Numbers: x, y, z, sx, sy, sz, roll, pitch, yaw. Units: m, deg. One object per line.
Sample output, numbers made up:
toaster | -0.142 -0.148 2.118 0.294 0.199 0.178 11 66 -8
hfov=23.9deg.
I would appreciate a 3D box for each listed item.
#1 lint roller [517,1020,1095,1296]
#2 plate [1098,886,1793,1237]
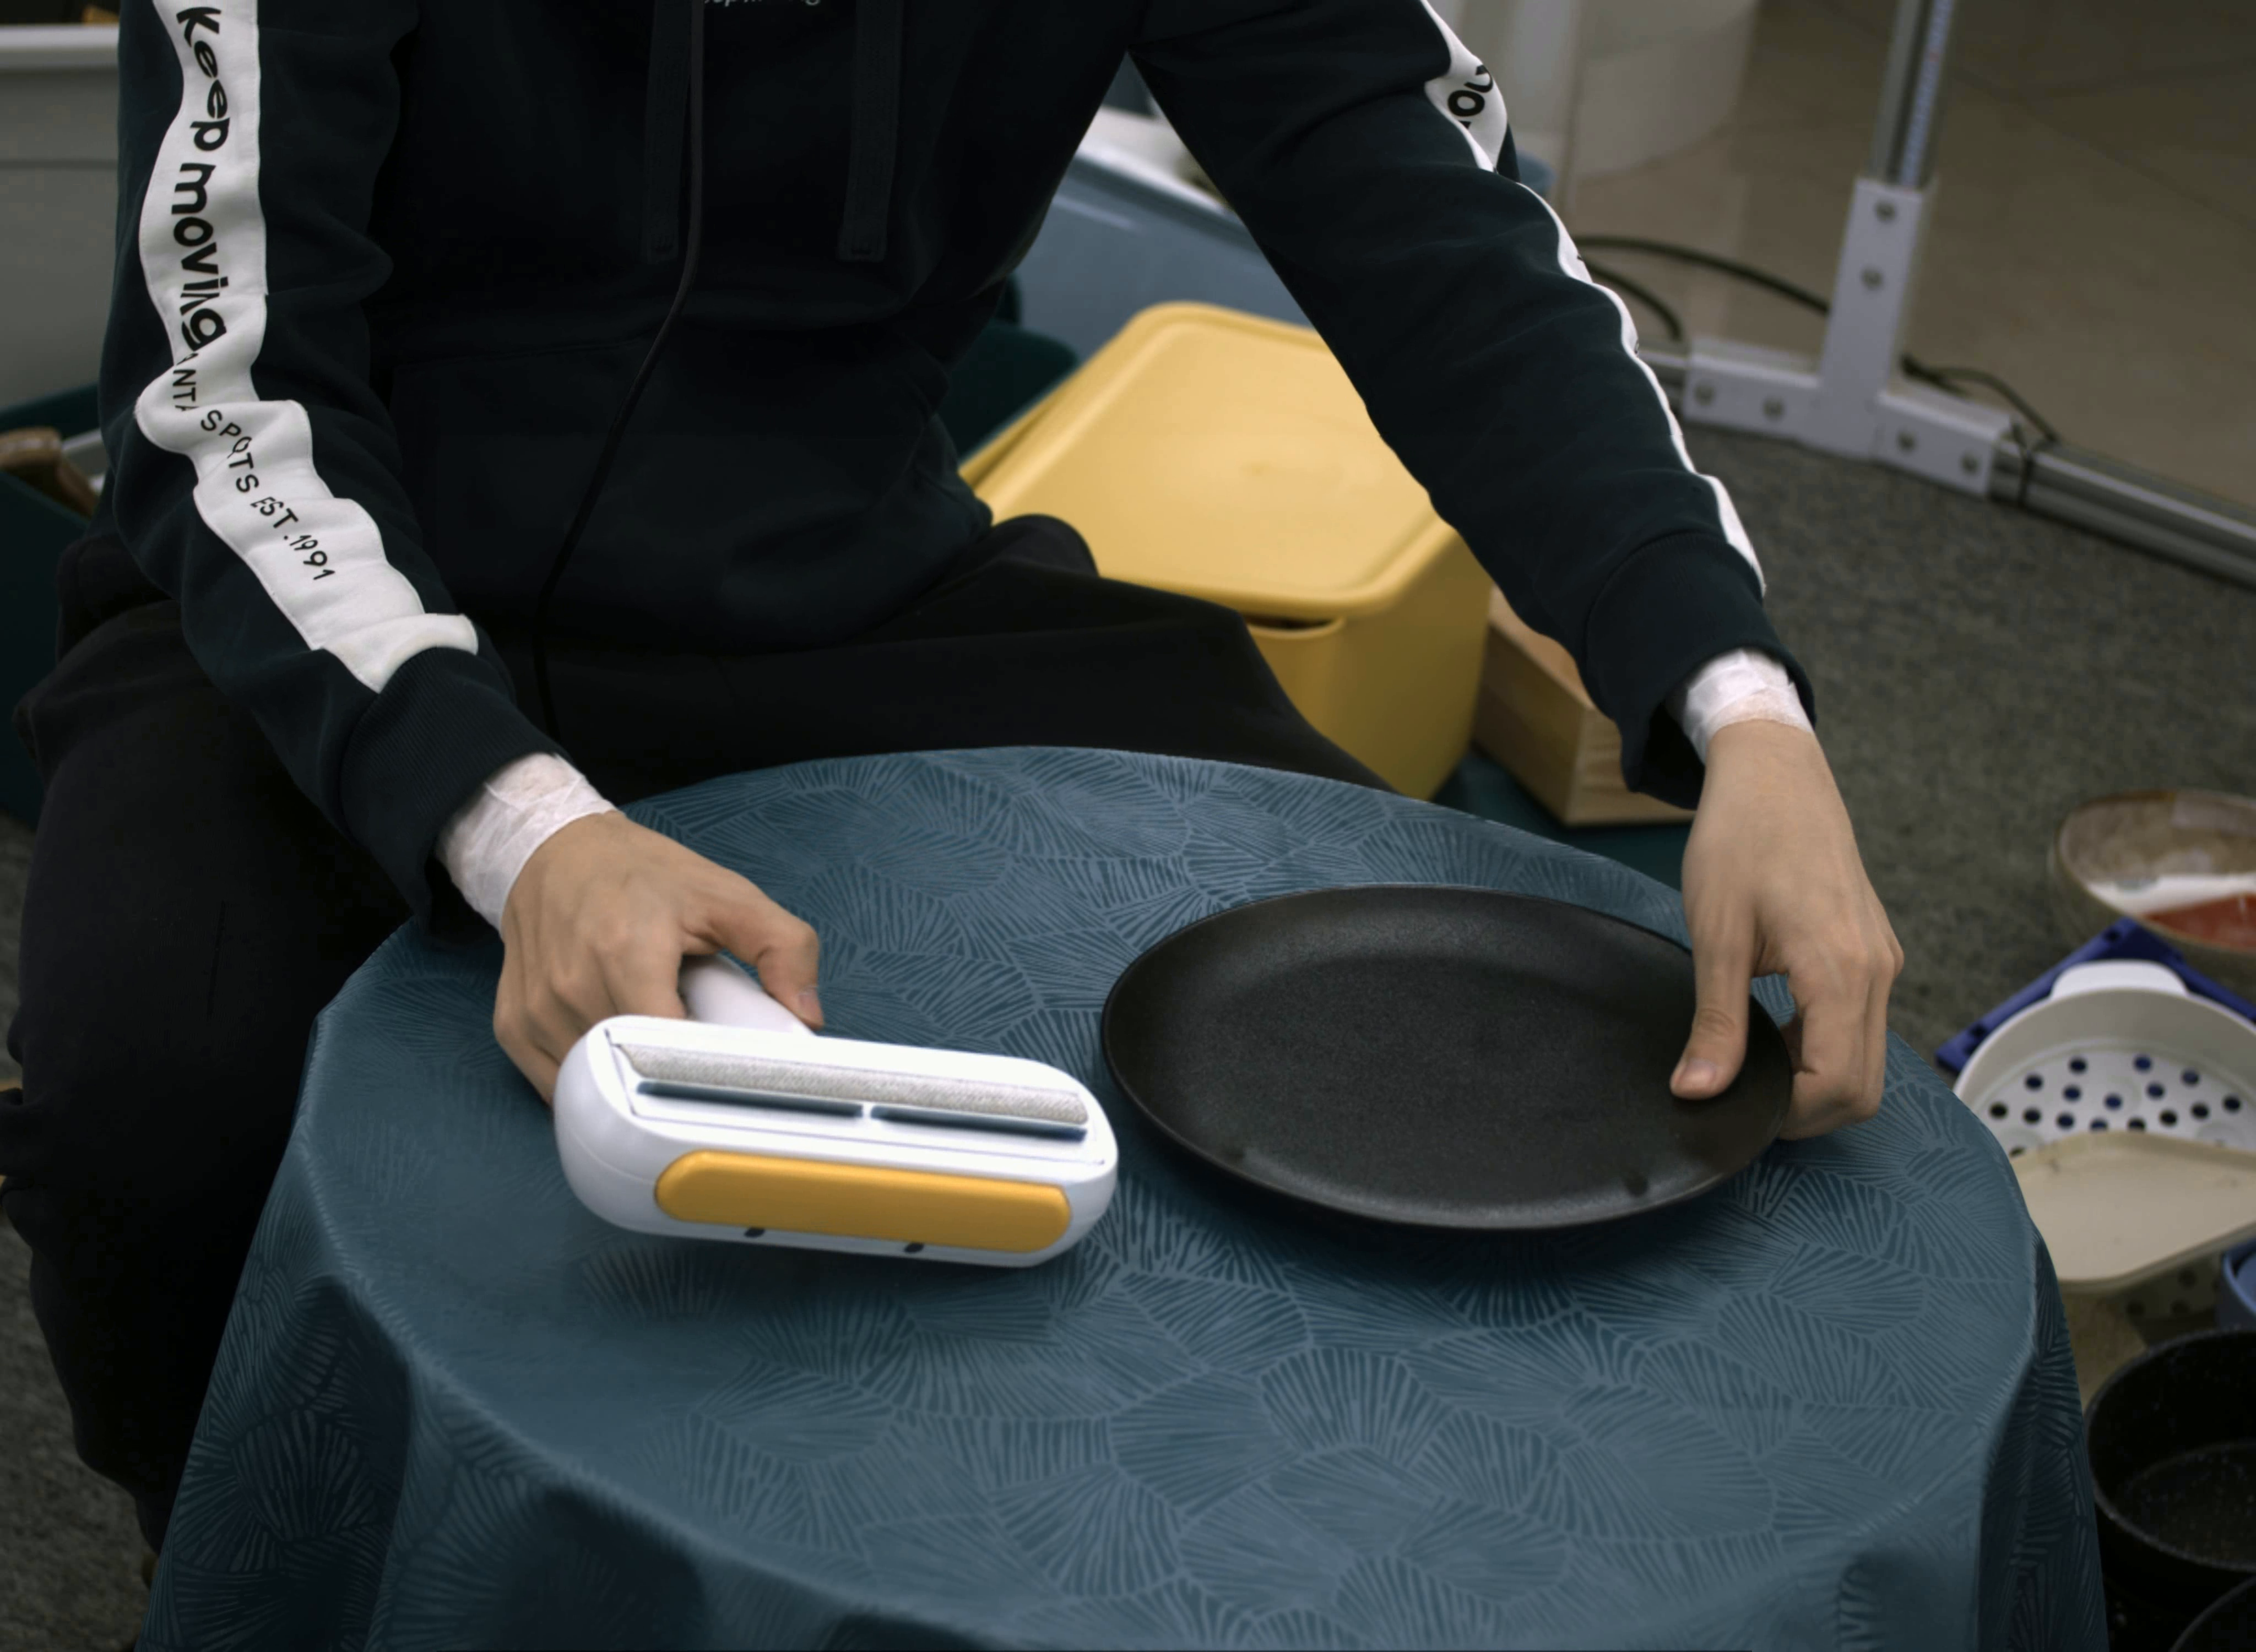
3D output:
lint roller | -0.122 0.098 1.777 0.191 0.074 0.194 8 14 -20
plate | 0.110 0.087 1.861 0.243 0.023 0.246 3 27 -2
